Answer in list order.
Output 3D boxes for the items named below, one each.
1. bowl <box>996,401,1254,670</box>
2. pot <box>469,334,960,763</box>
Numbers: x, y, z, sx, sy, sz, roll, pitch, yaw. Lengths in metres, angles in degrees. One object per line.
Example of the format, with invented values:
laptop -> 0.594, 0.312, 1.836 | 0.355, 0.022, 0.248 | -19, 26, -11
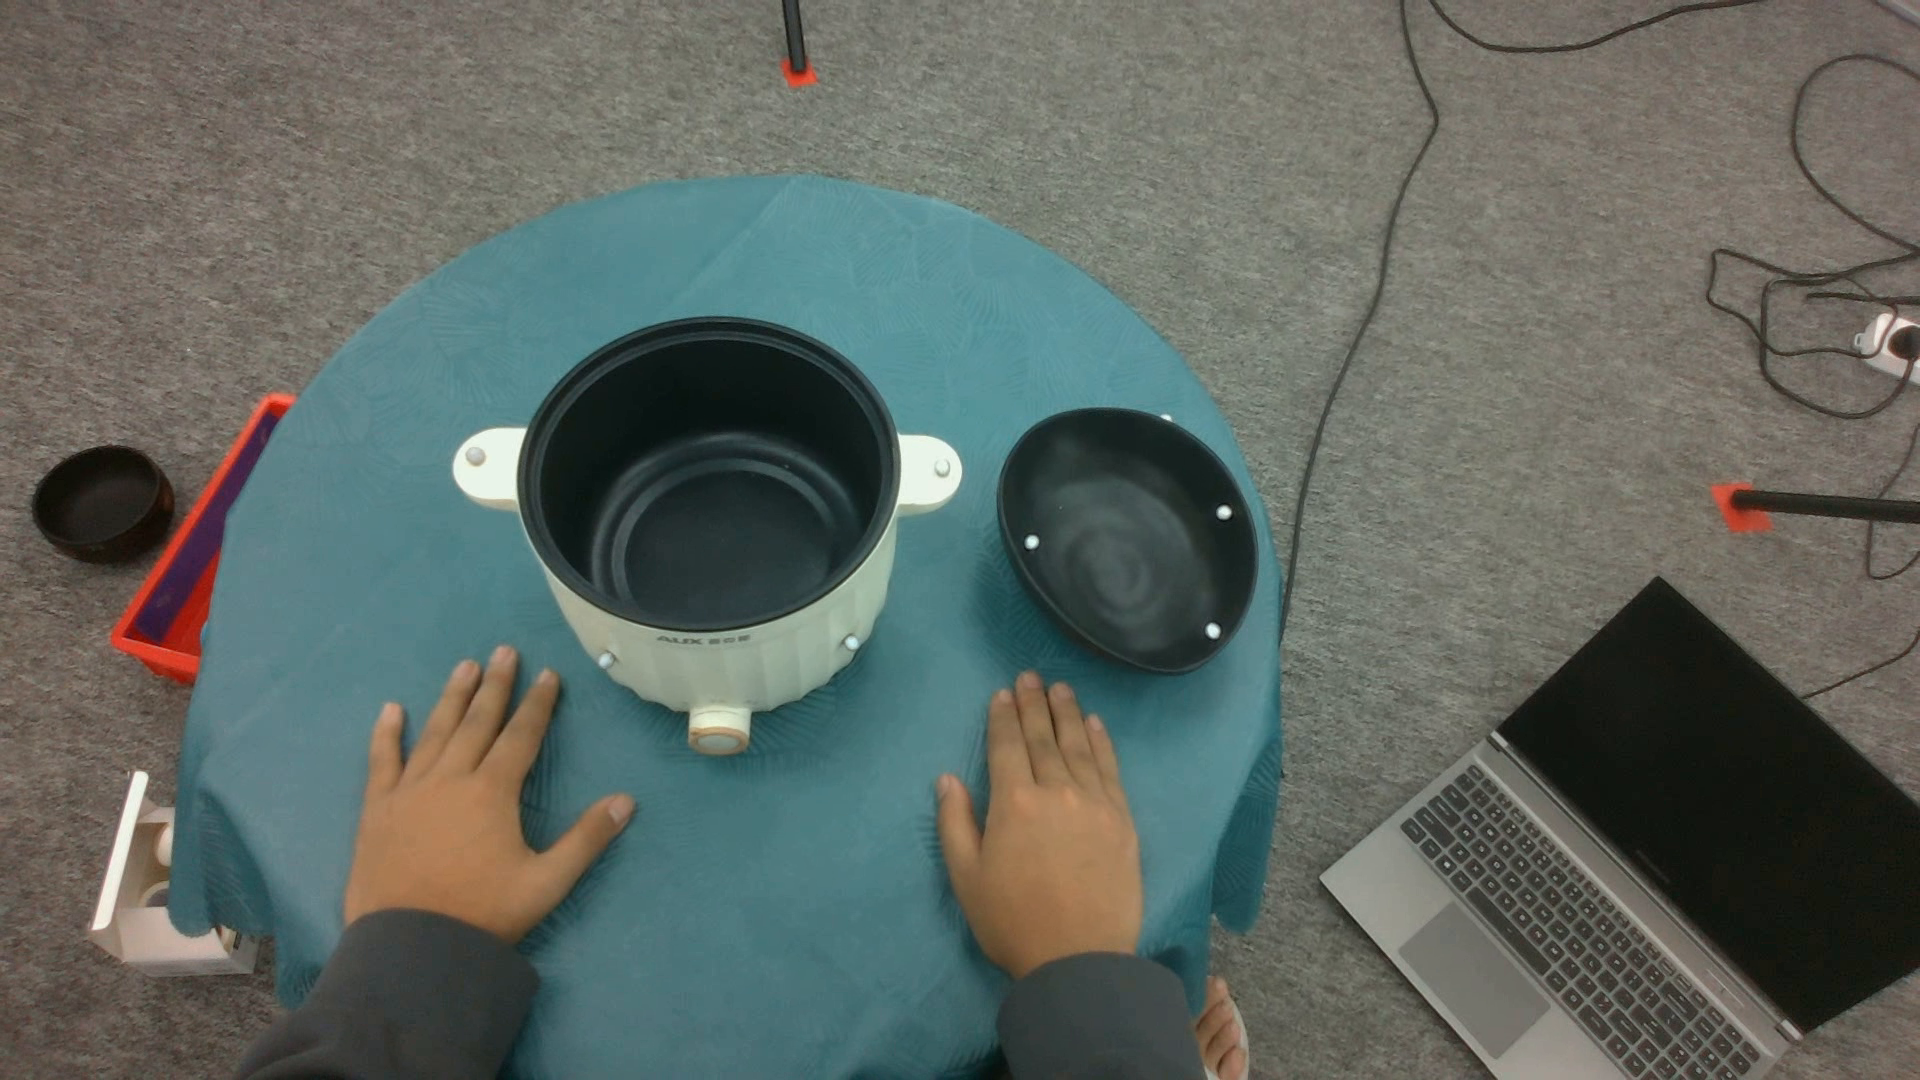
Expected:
bowl -> 0.092, 0.003, 0.783 | 0.137, 0.066, 0.170 | -23, 64, -15
pot -> -0.120, 0.008, 0.729 | 0.240, 0.142, 0.191 | -4, 56, -3
